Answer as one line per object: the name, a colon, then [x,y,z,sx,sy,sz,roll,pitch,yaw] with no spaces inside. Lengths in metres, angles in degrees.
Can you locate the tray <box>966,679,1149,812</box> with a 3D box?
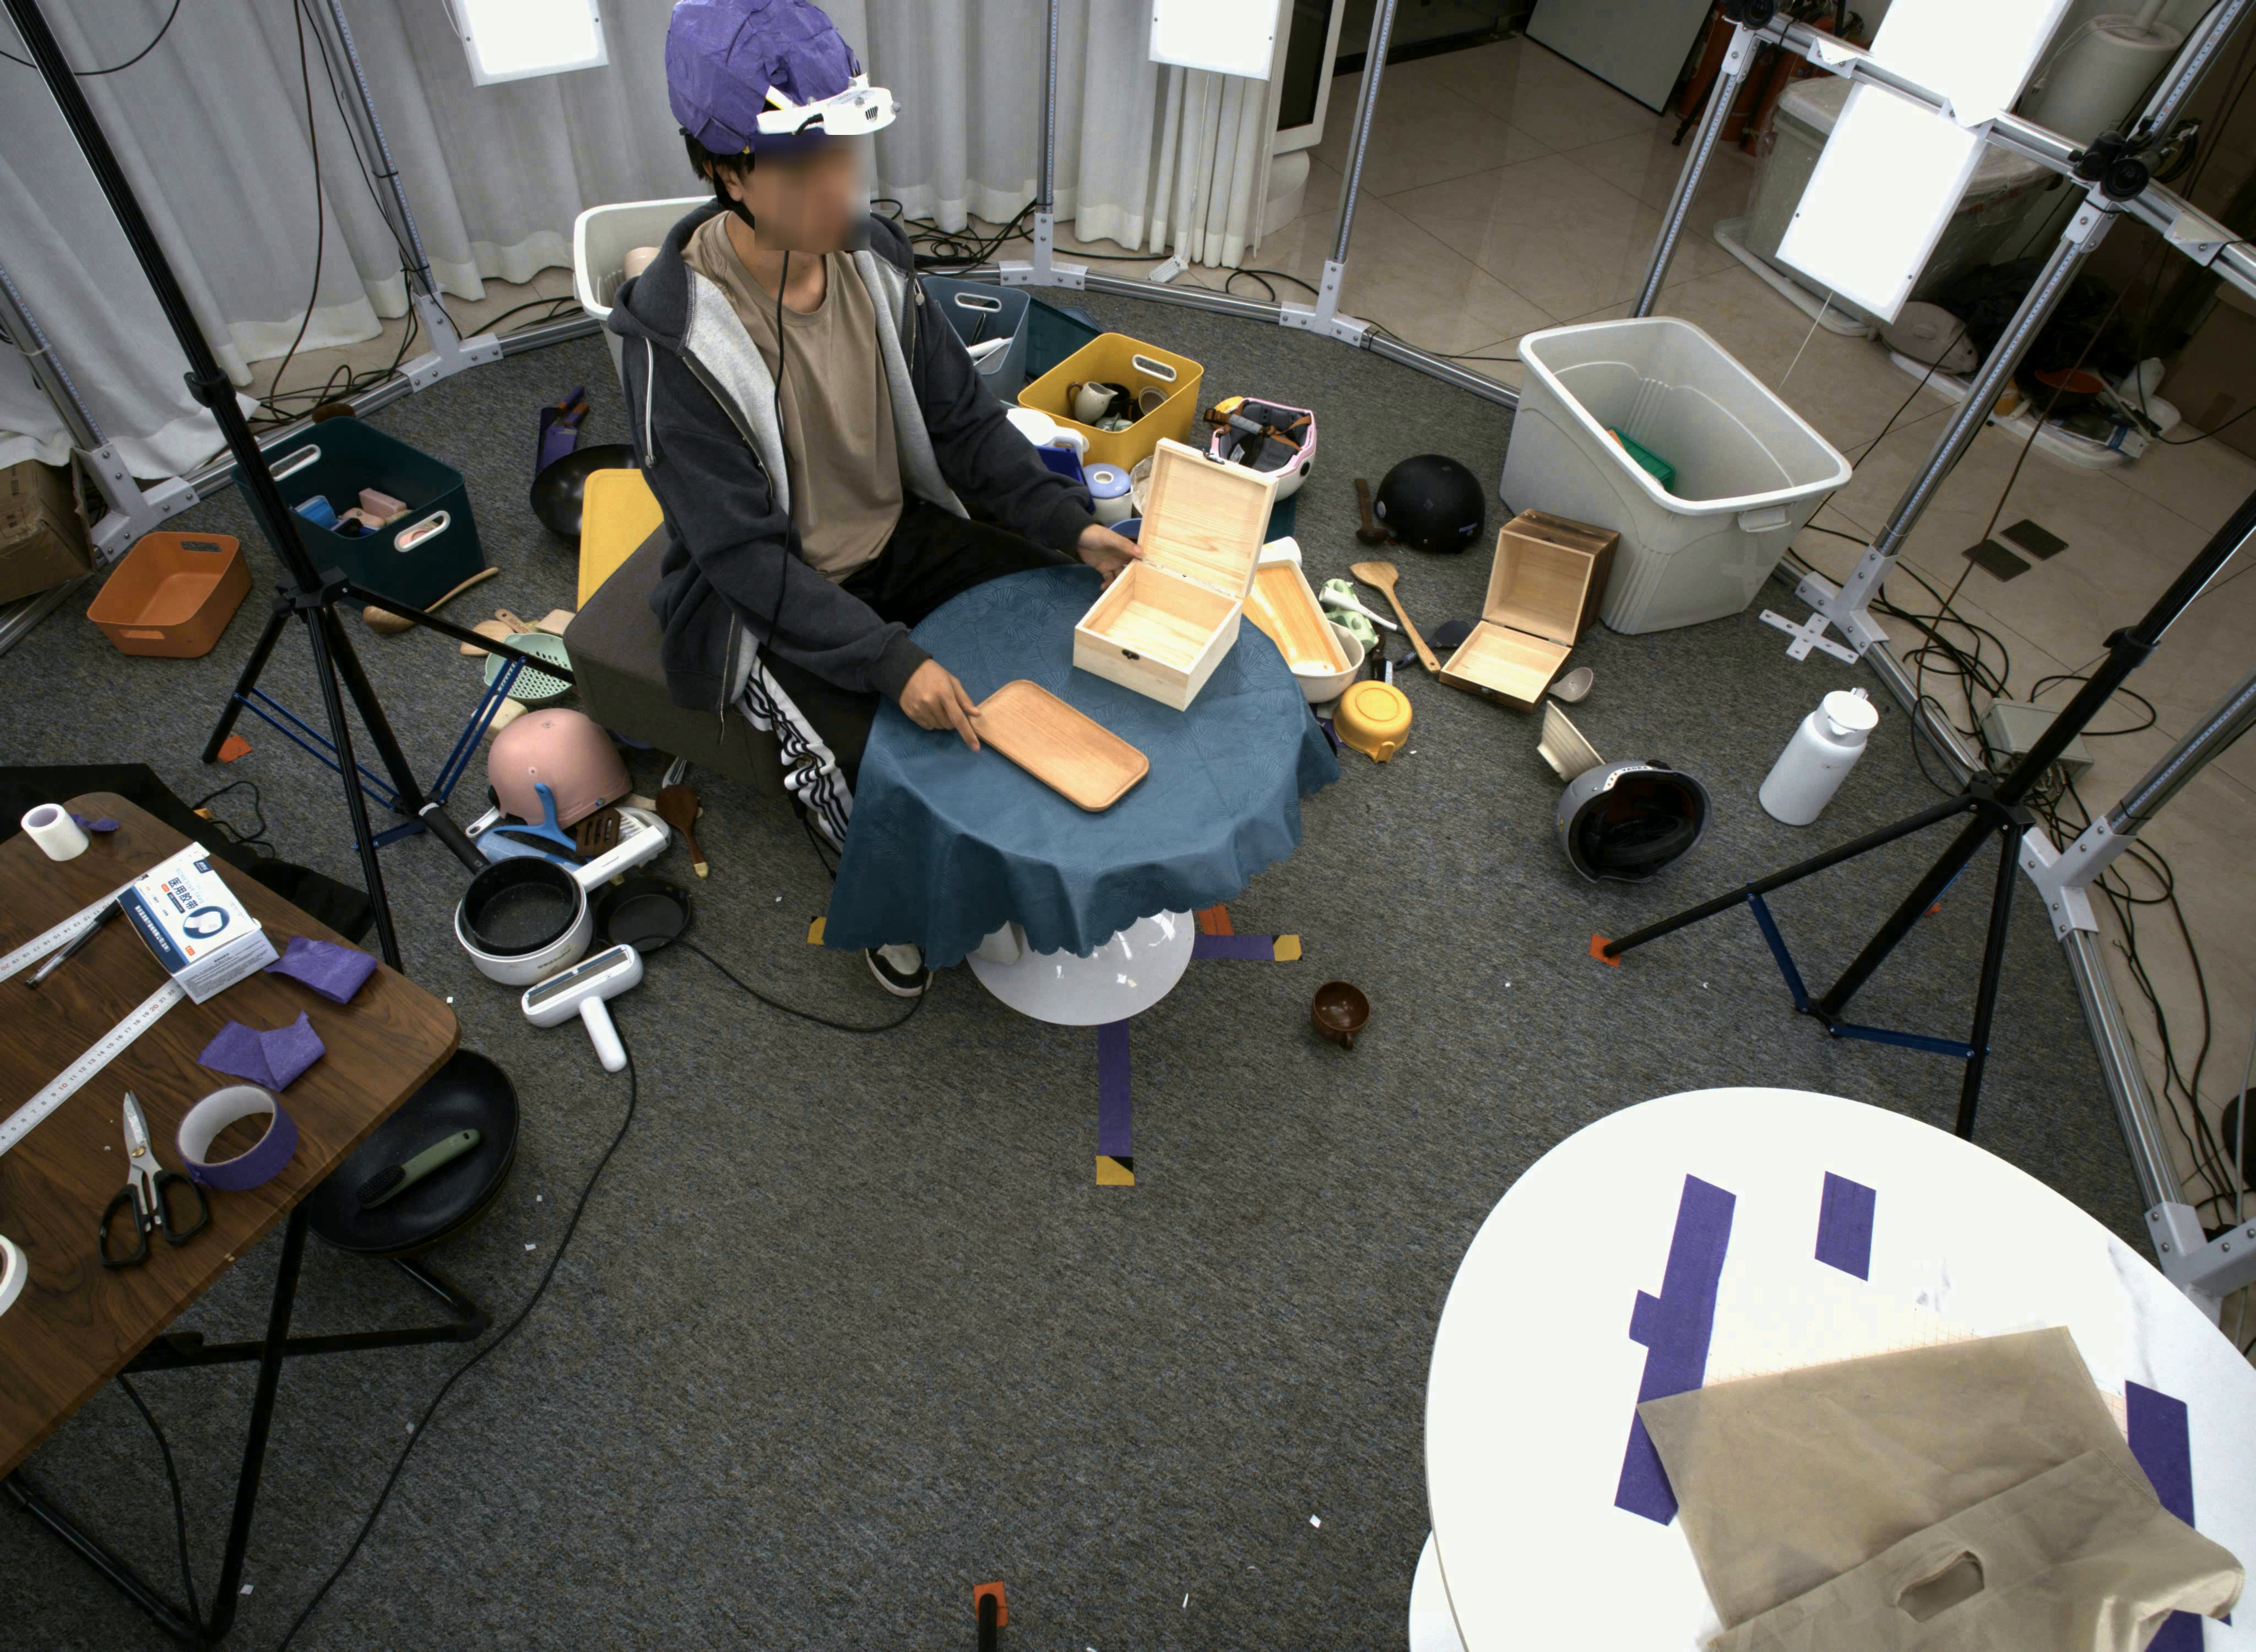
tray: [-0.097,-0.112,1.745,0.254,0.022,0.132,34,53,24]

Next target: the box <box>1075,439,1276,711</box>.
box: [0.064,-0.358,1.825,0.183,0.247,0.269,21,50,17]
